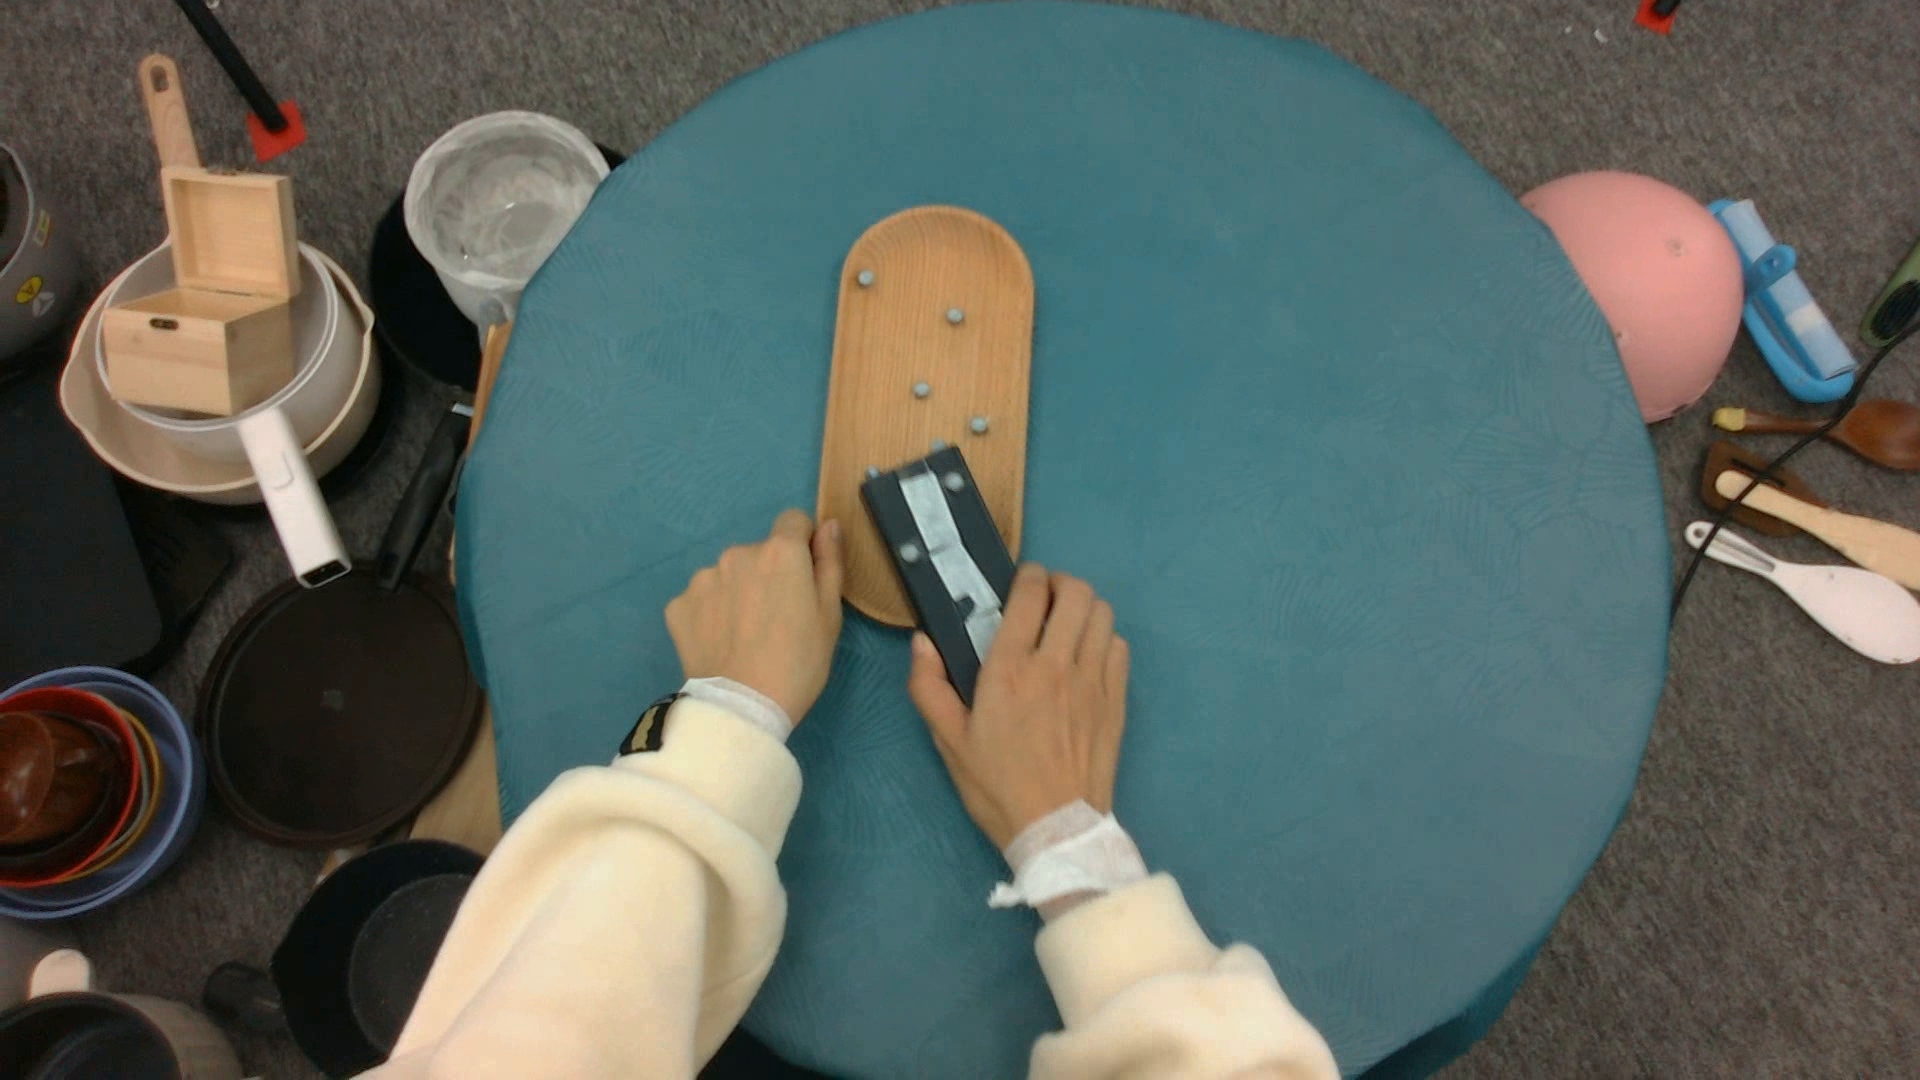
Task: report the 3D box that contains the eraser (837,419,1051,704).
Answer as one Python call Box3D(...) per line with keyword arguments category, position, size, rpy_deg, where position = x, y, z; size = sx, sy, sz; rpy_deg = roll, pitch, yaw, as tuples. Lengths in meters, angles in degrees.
Box3D(category="eraser", position=(-0.008, 0.010, 0.641), size=(0.053, 0.030, 0.125), rpy_deg=(-26, 78, -2))

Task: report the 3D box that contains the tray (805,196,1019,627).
Box3D(category="tray", position=(-0.022, -0.068, 0.691), size=(0.102, 0.020, 0.232), rpy_deg=(2, 73, -1))
